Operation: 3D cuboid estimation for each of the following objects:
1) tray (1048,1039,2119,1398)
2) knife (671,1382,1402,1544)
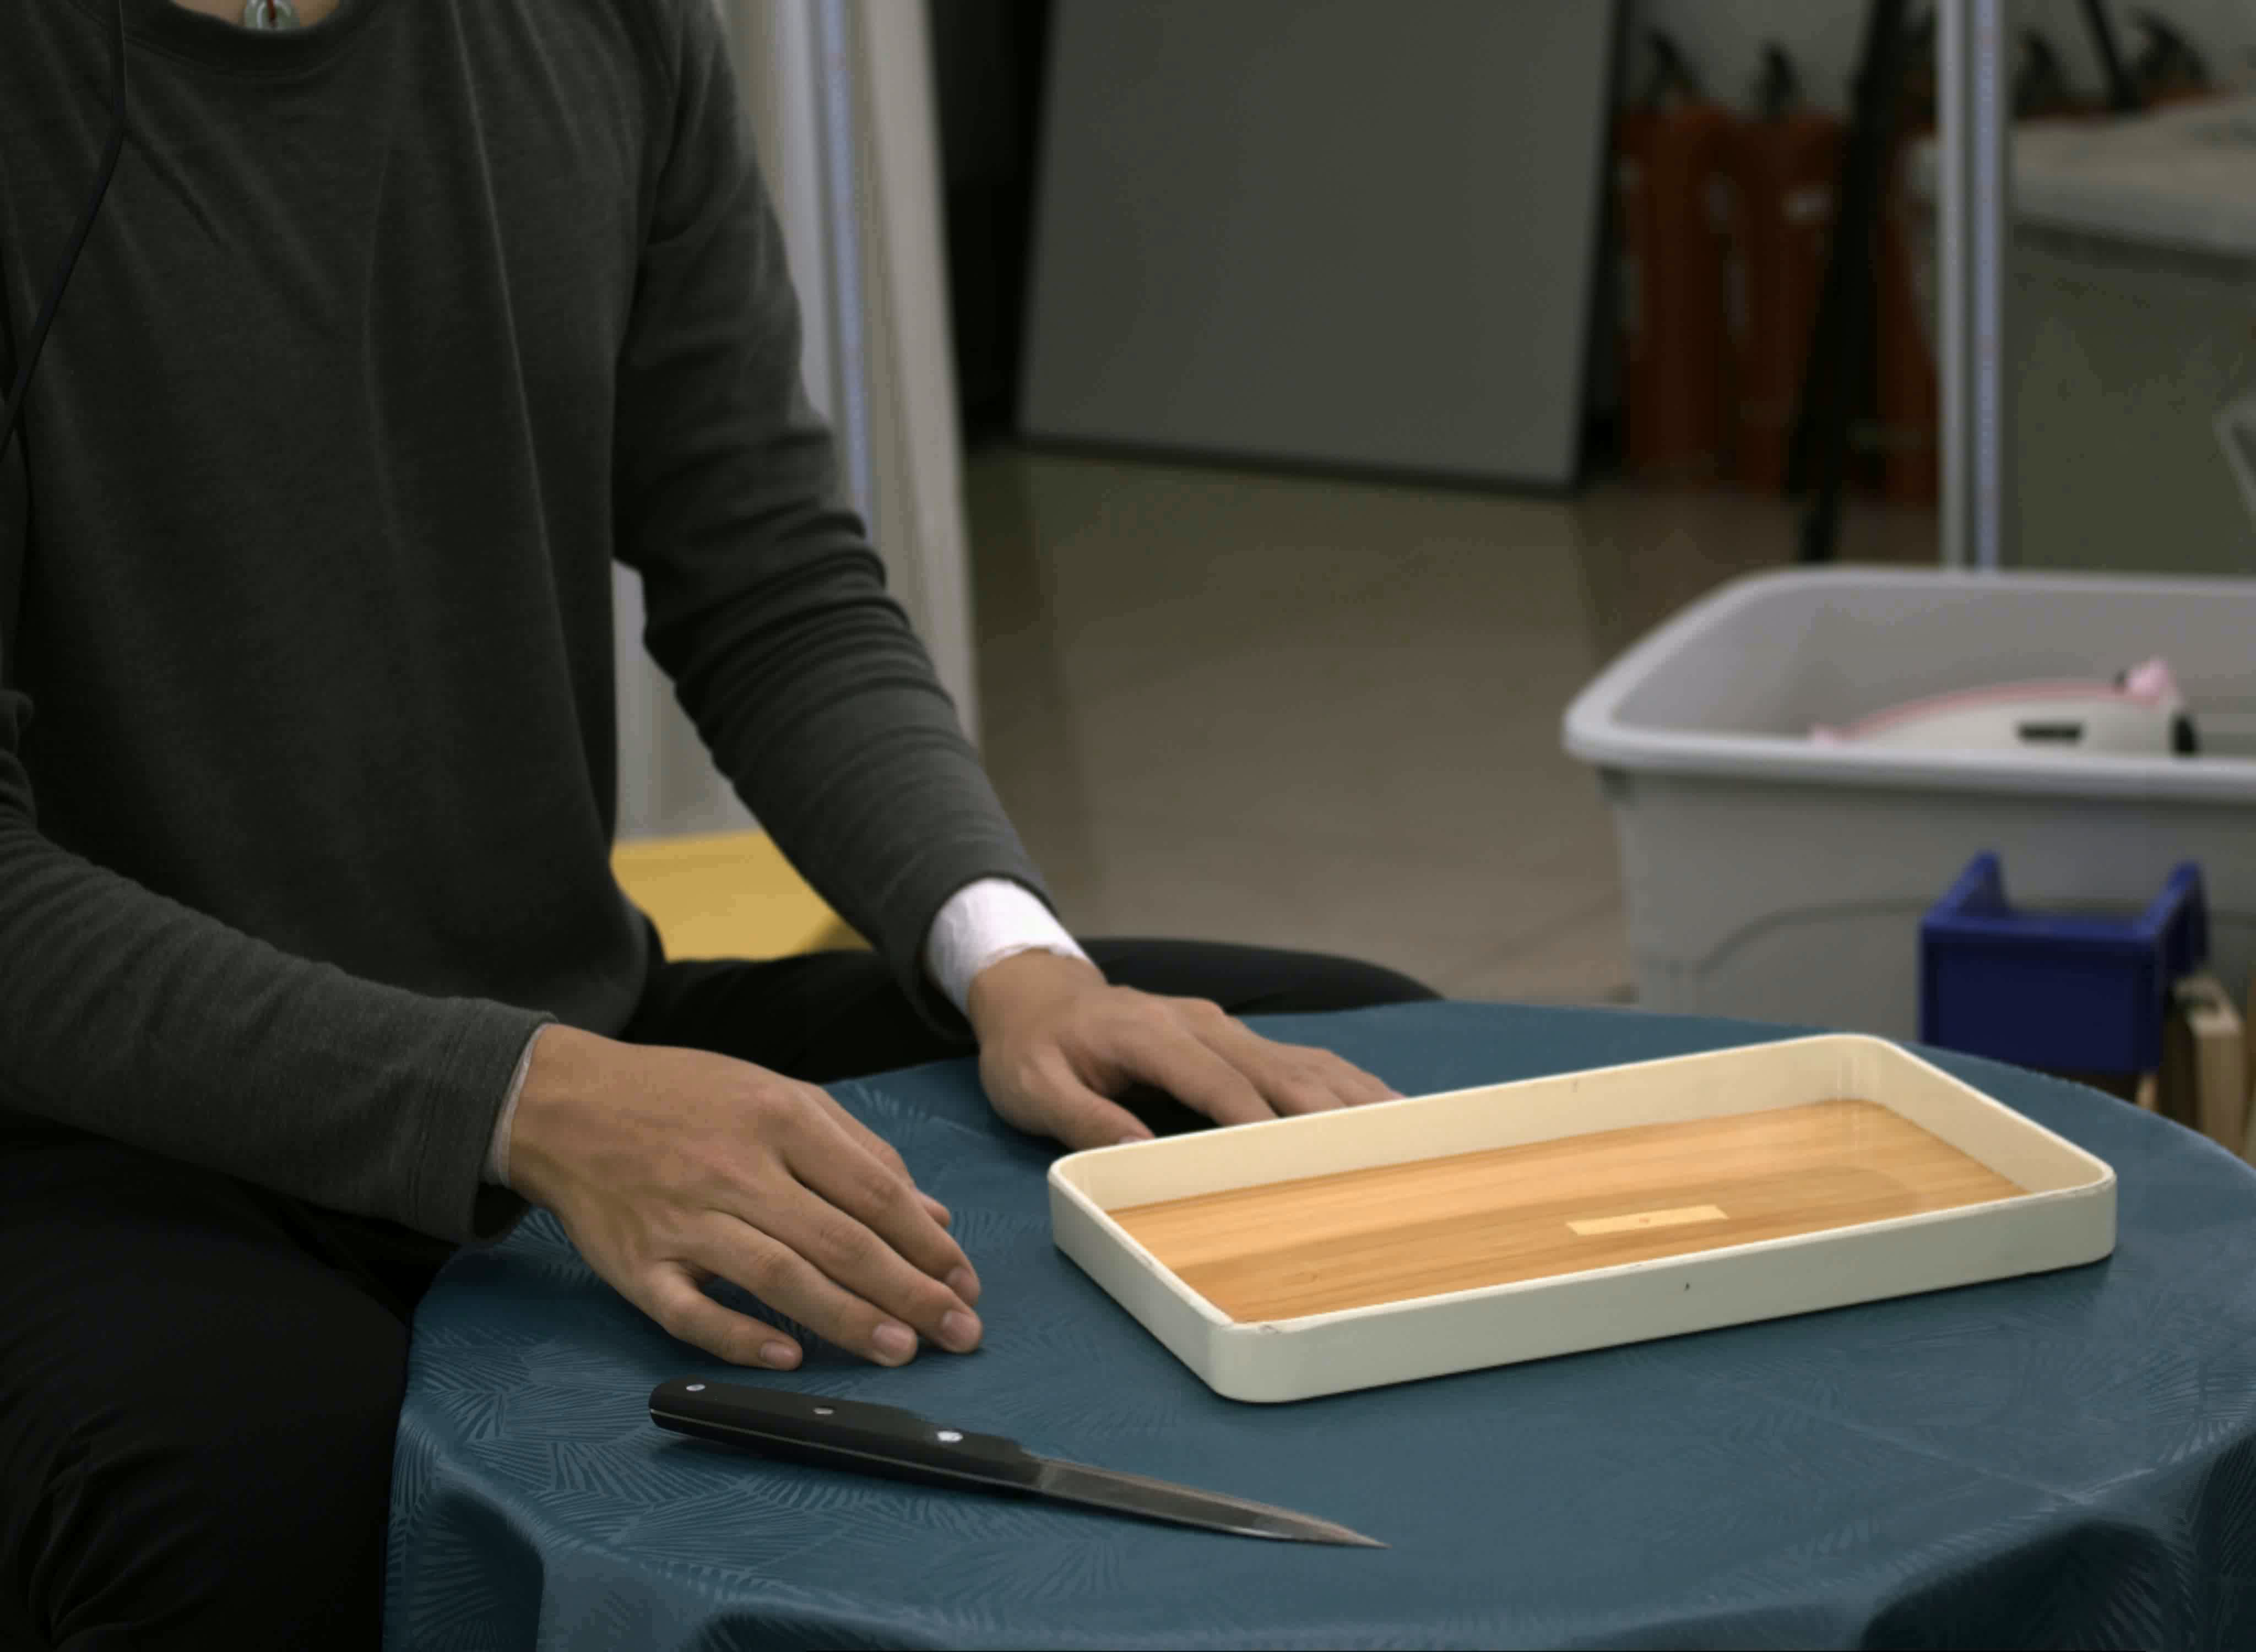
[{"bbox_3d":[0.139,0.120,1.685,0.294,0.028,0.193,-8,13,-16],"label":"tray"},{"bbox_3d":[-0.030,0.181,1.511,0.239,0.016,0.024,7,19,29],"label":"knife"}]
